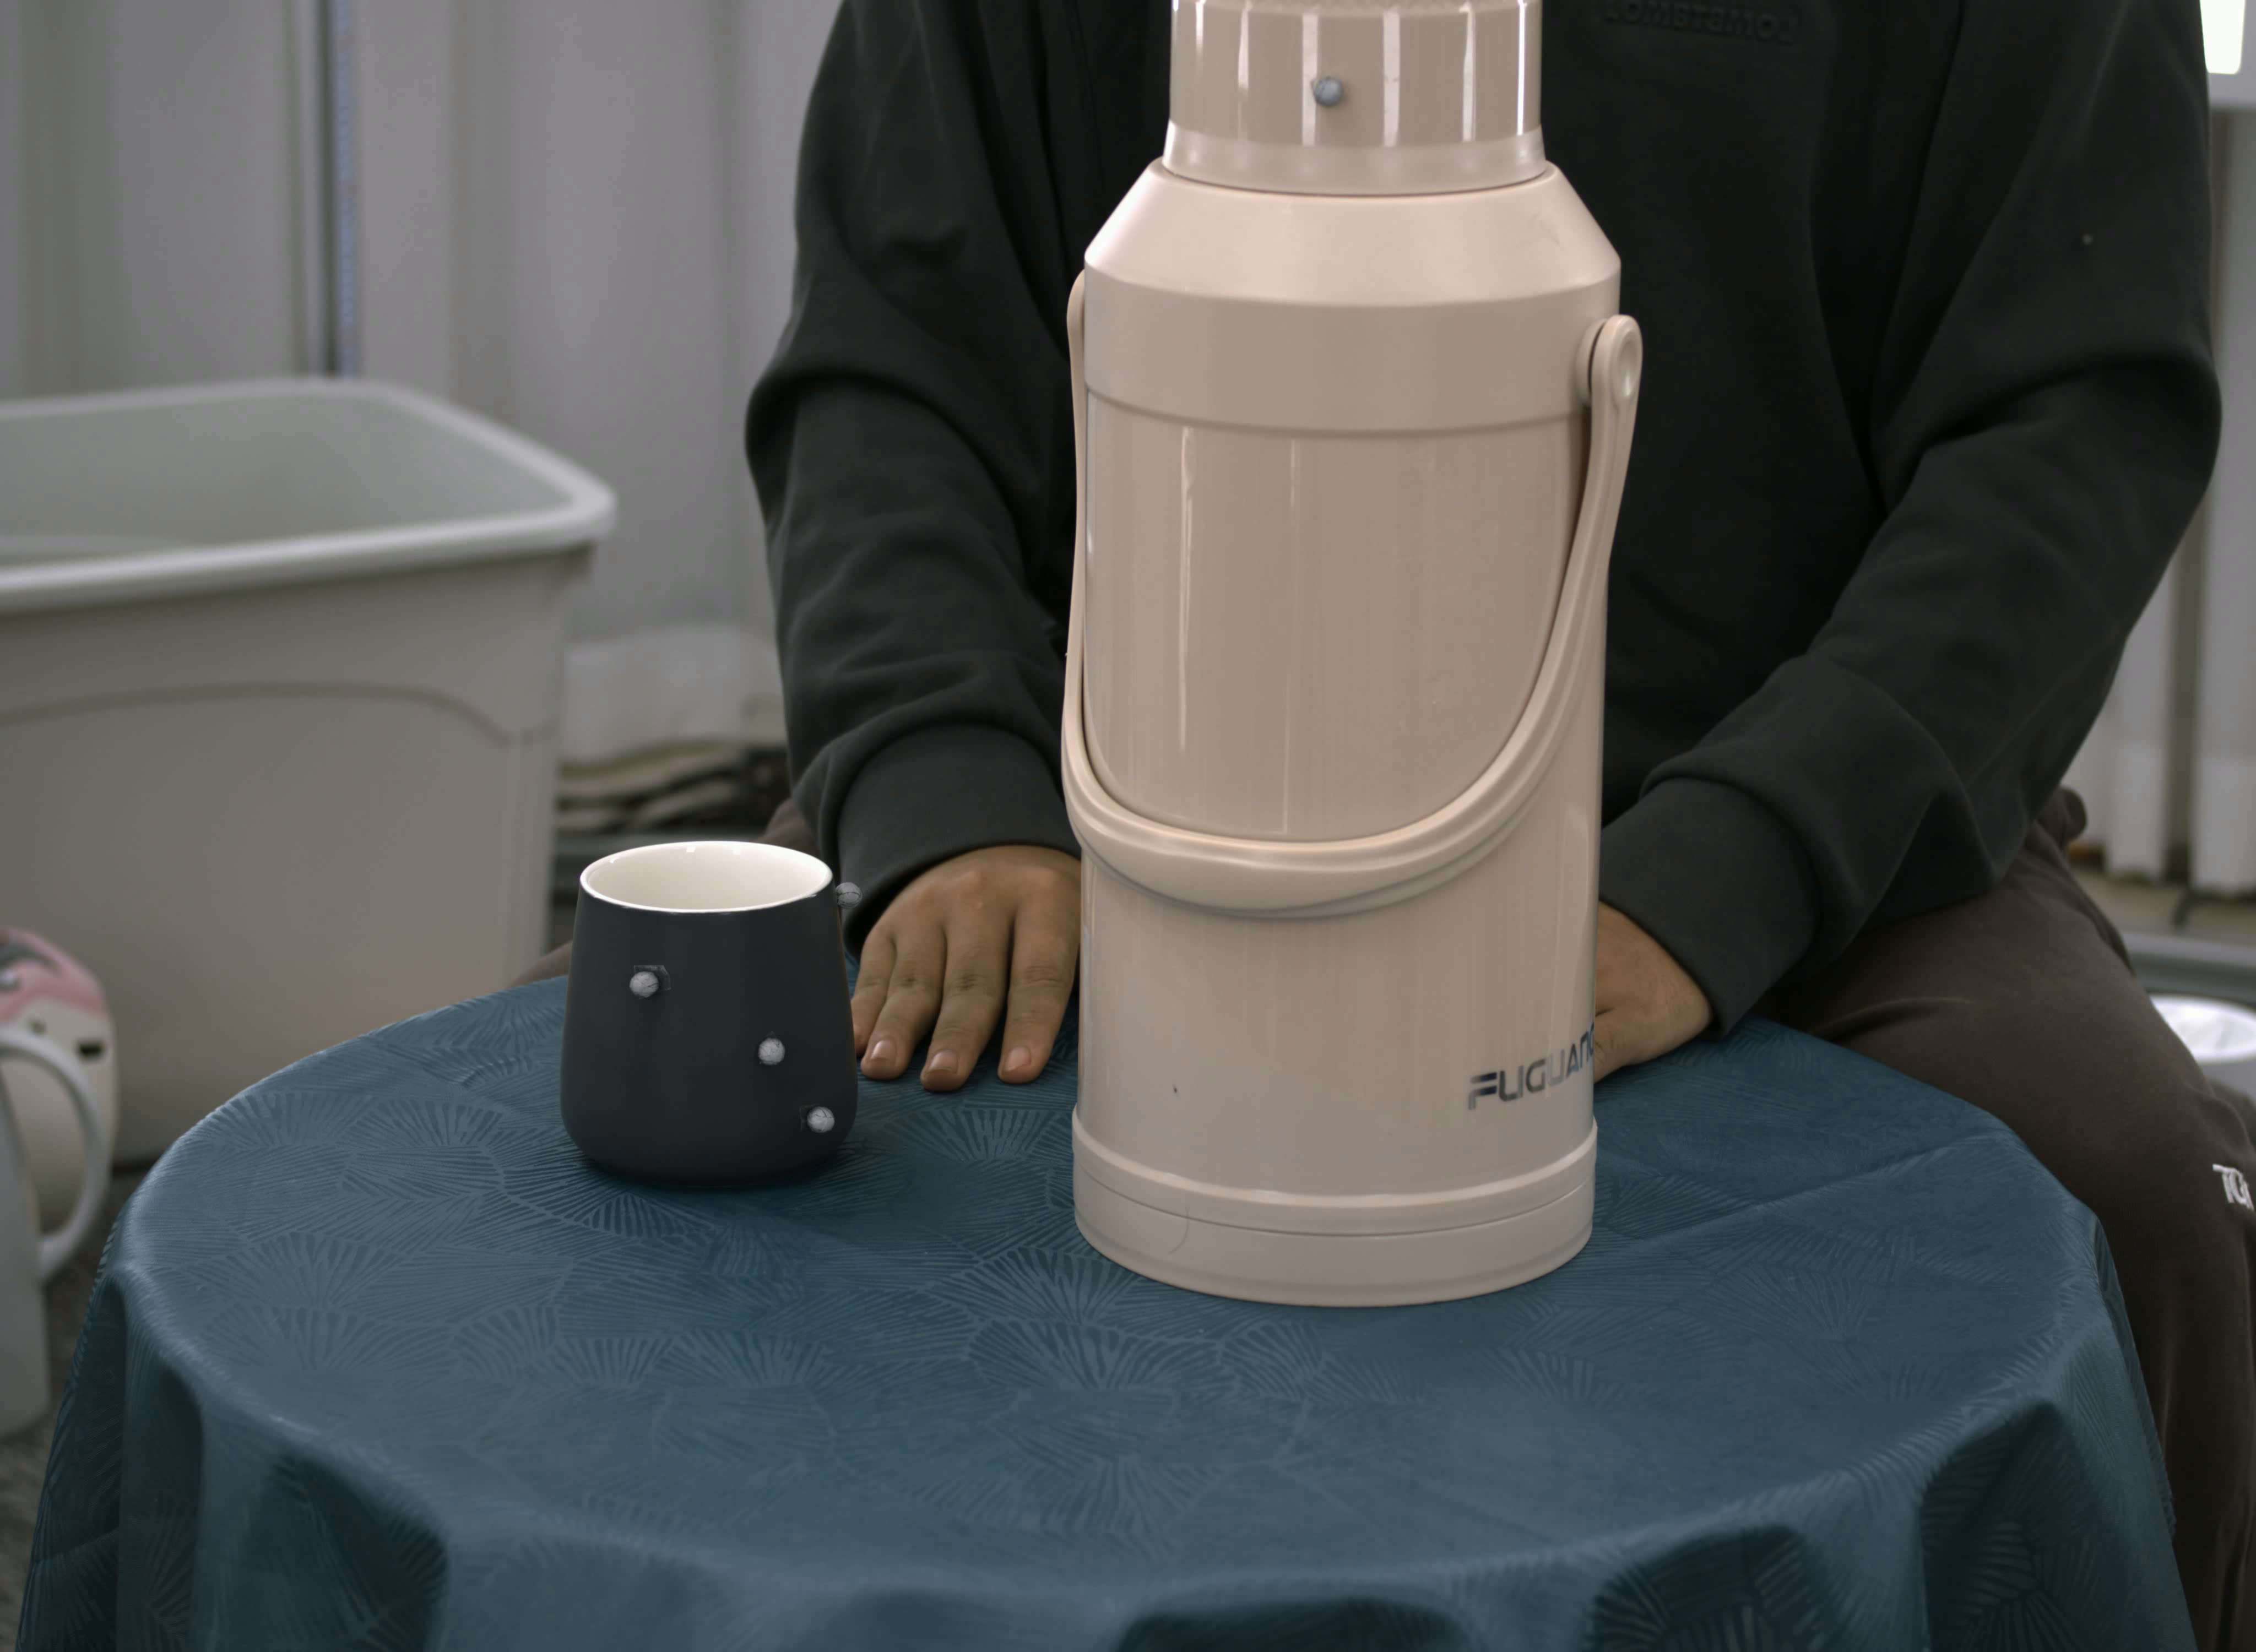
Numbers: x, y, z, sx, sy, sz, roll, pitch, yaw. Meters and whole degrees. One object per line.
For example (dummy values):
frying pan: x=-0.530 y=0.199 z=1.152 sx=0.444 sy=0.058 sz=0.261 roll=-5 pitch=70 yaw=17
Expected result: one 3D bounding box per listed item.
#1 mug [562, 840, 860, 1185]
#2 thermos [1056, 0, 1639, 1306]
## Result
mug: x=-0.125 y=0.054 z=1.658 sx=0.092 sy=0.090 sz=0.123 roll=6 pitch=17 yaw=19
thermos: x=0.070 y=-0.076 z=1.562 sx=0.173 sy=0.410 sz=0.207 roll=8 pitch=18 yaw=26
